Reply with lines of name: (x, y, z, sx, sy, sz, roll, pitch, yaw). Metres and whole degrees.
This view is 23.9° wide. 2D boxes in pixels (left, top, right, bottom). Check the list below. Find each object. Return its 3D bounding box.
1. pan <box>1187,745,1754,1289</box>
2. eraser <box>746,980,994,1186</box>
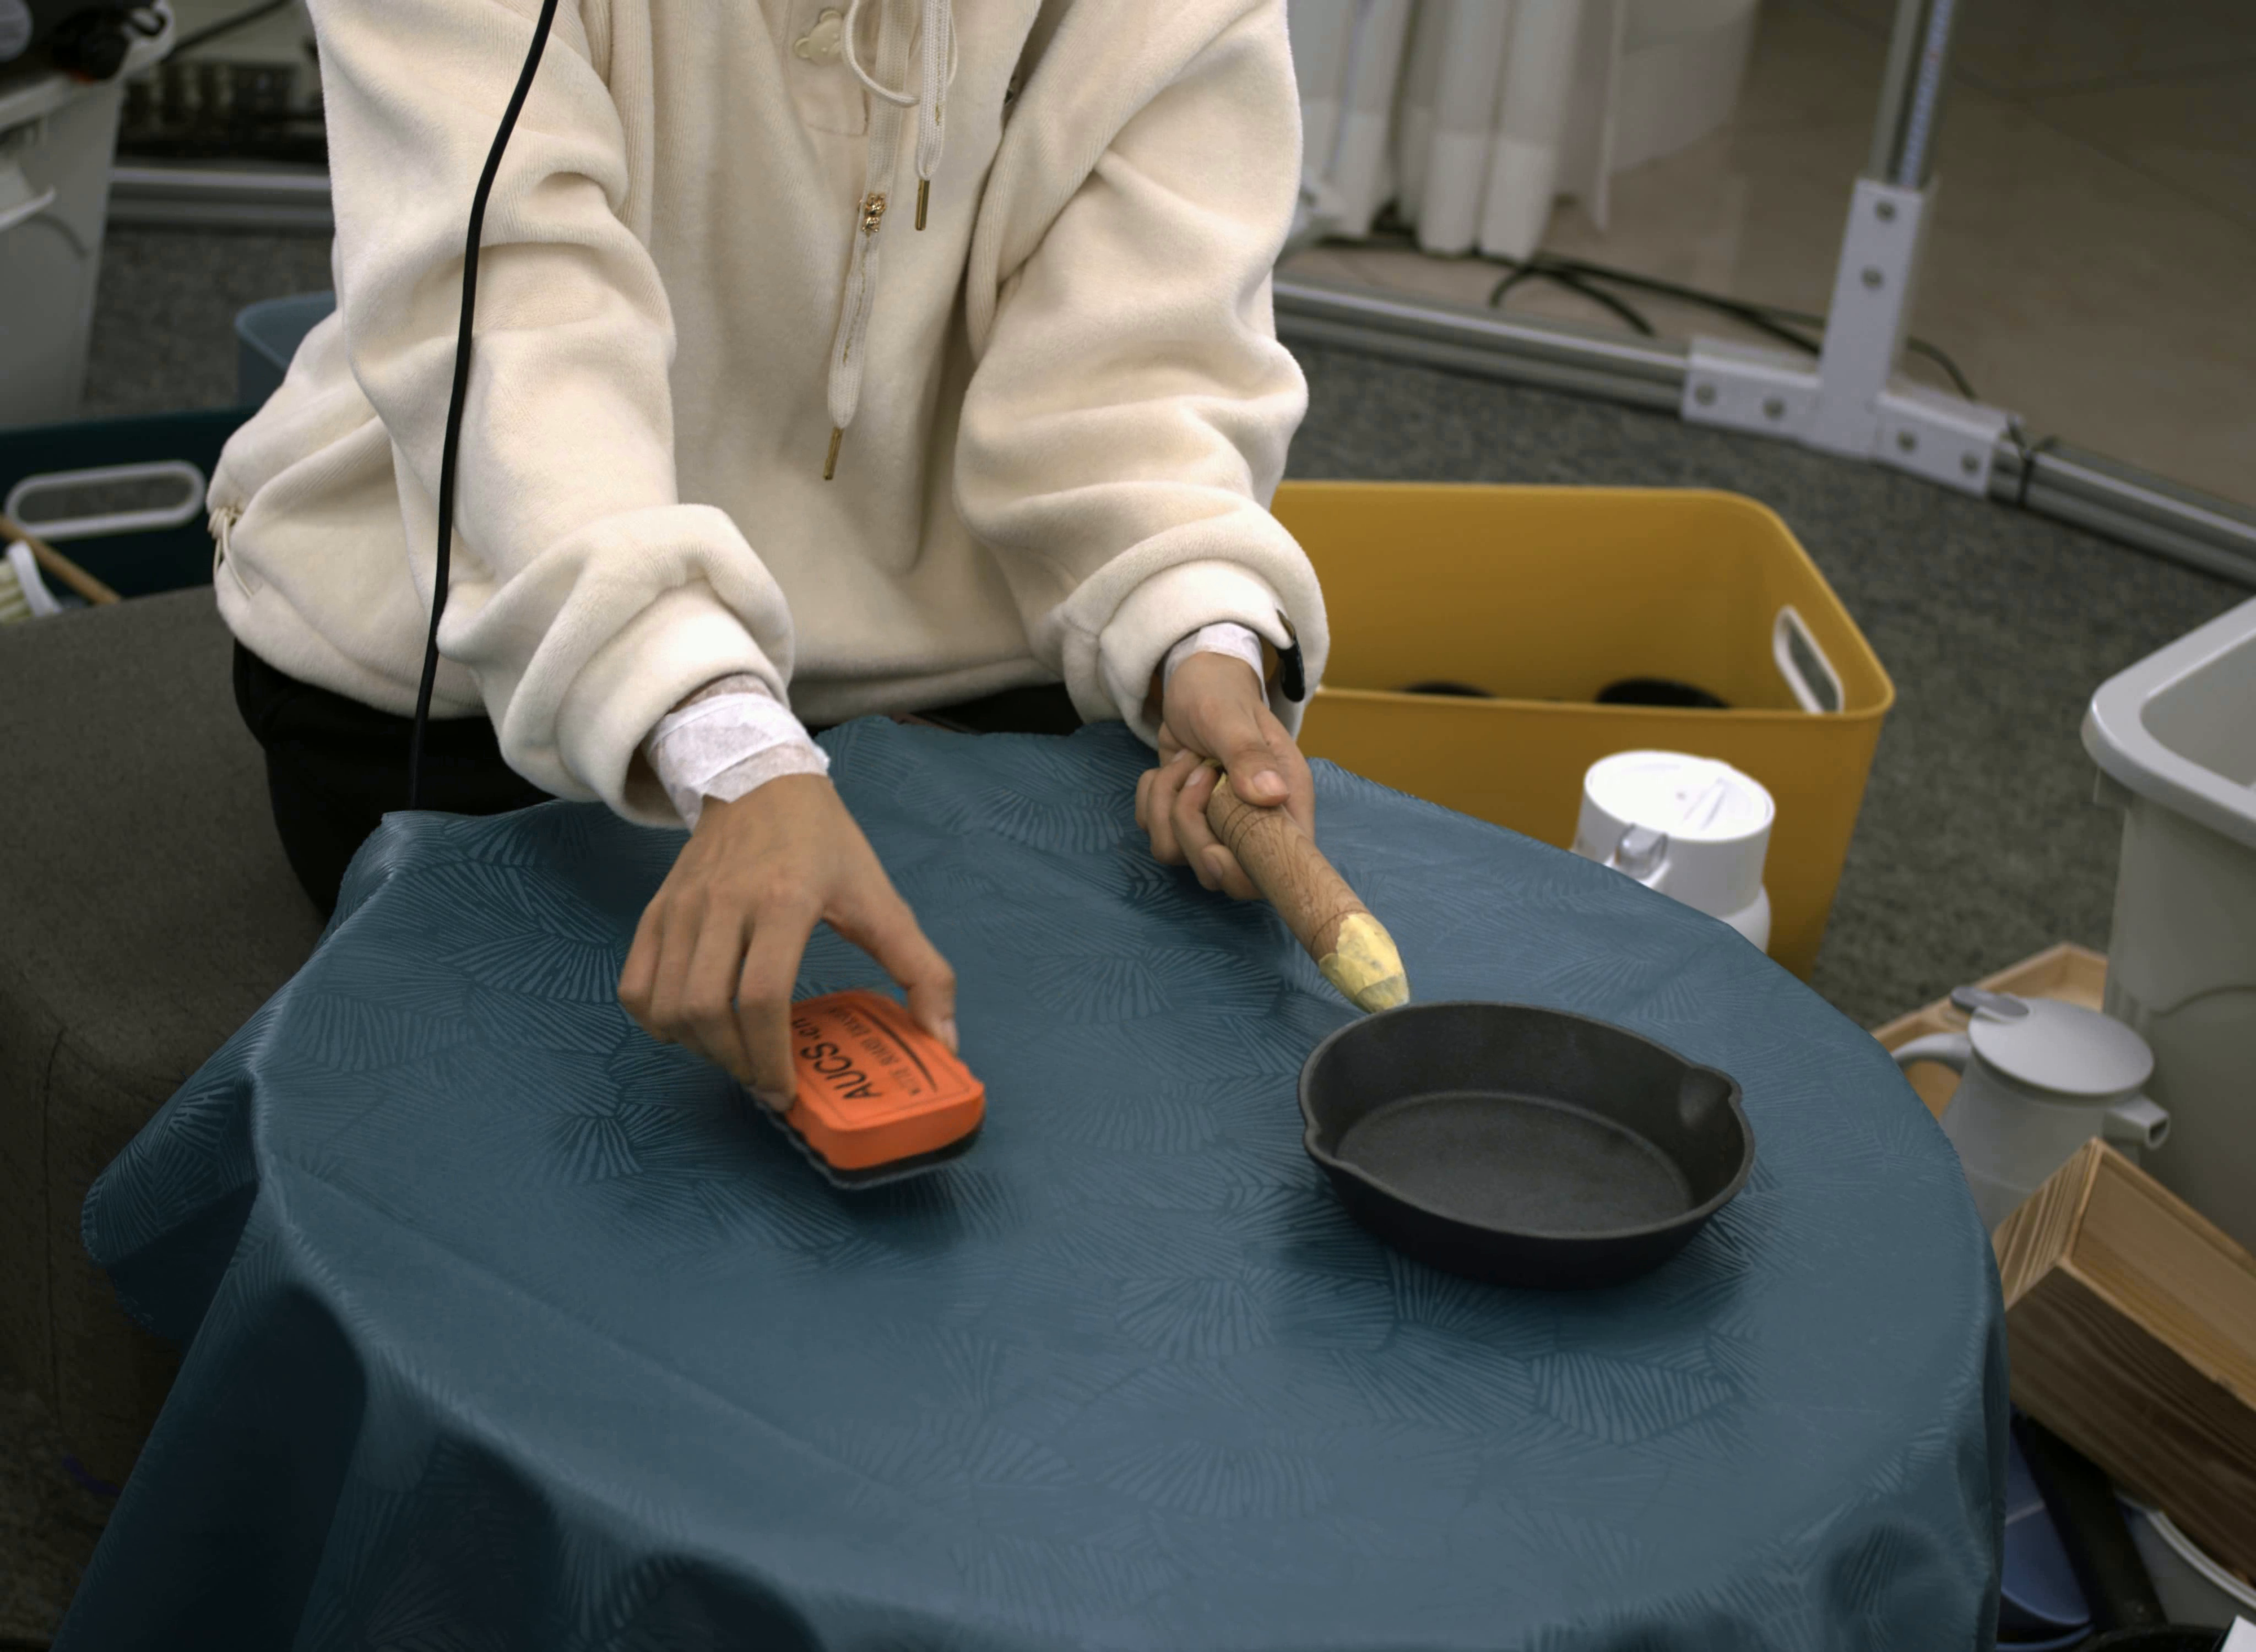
pan: (0.099, 0.065, 1.882, 0.168, 0.049, 0.327, -7, 31, -24)
eraser: (-0.088, 0.086, 1.806, 0.059, 0.023, 0.109, -16, 24, -16)
